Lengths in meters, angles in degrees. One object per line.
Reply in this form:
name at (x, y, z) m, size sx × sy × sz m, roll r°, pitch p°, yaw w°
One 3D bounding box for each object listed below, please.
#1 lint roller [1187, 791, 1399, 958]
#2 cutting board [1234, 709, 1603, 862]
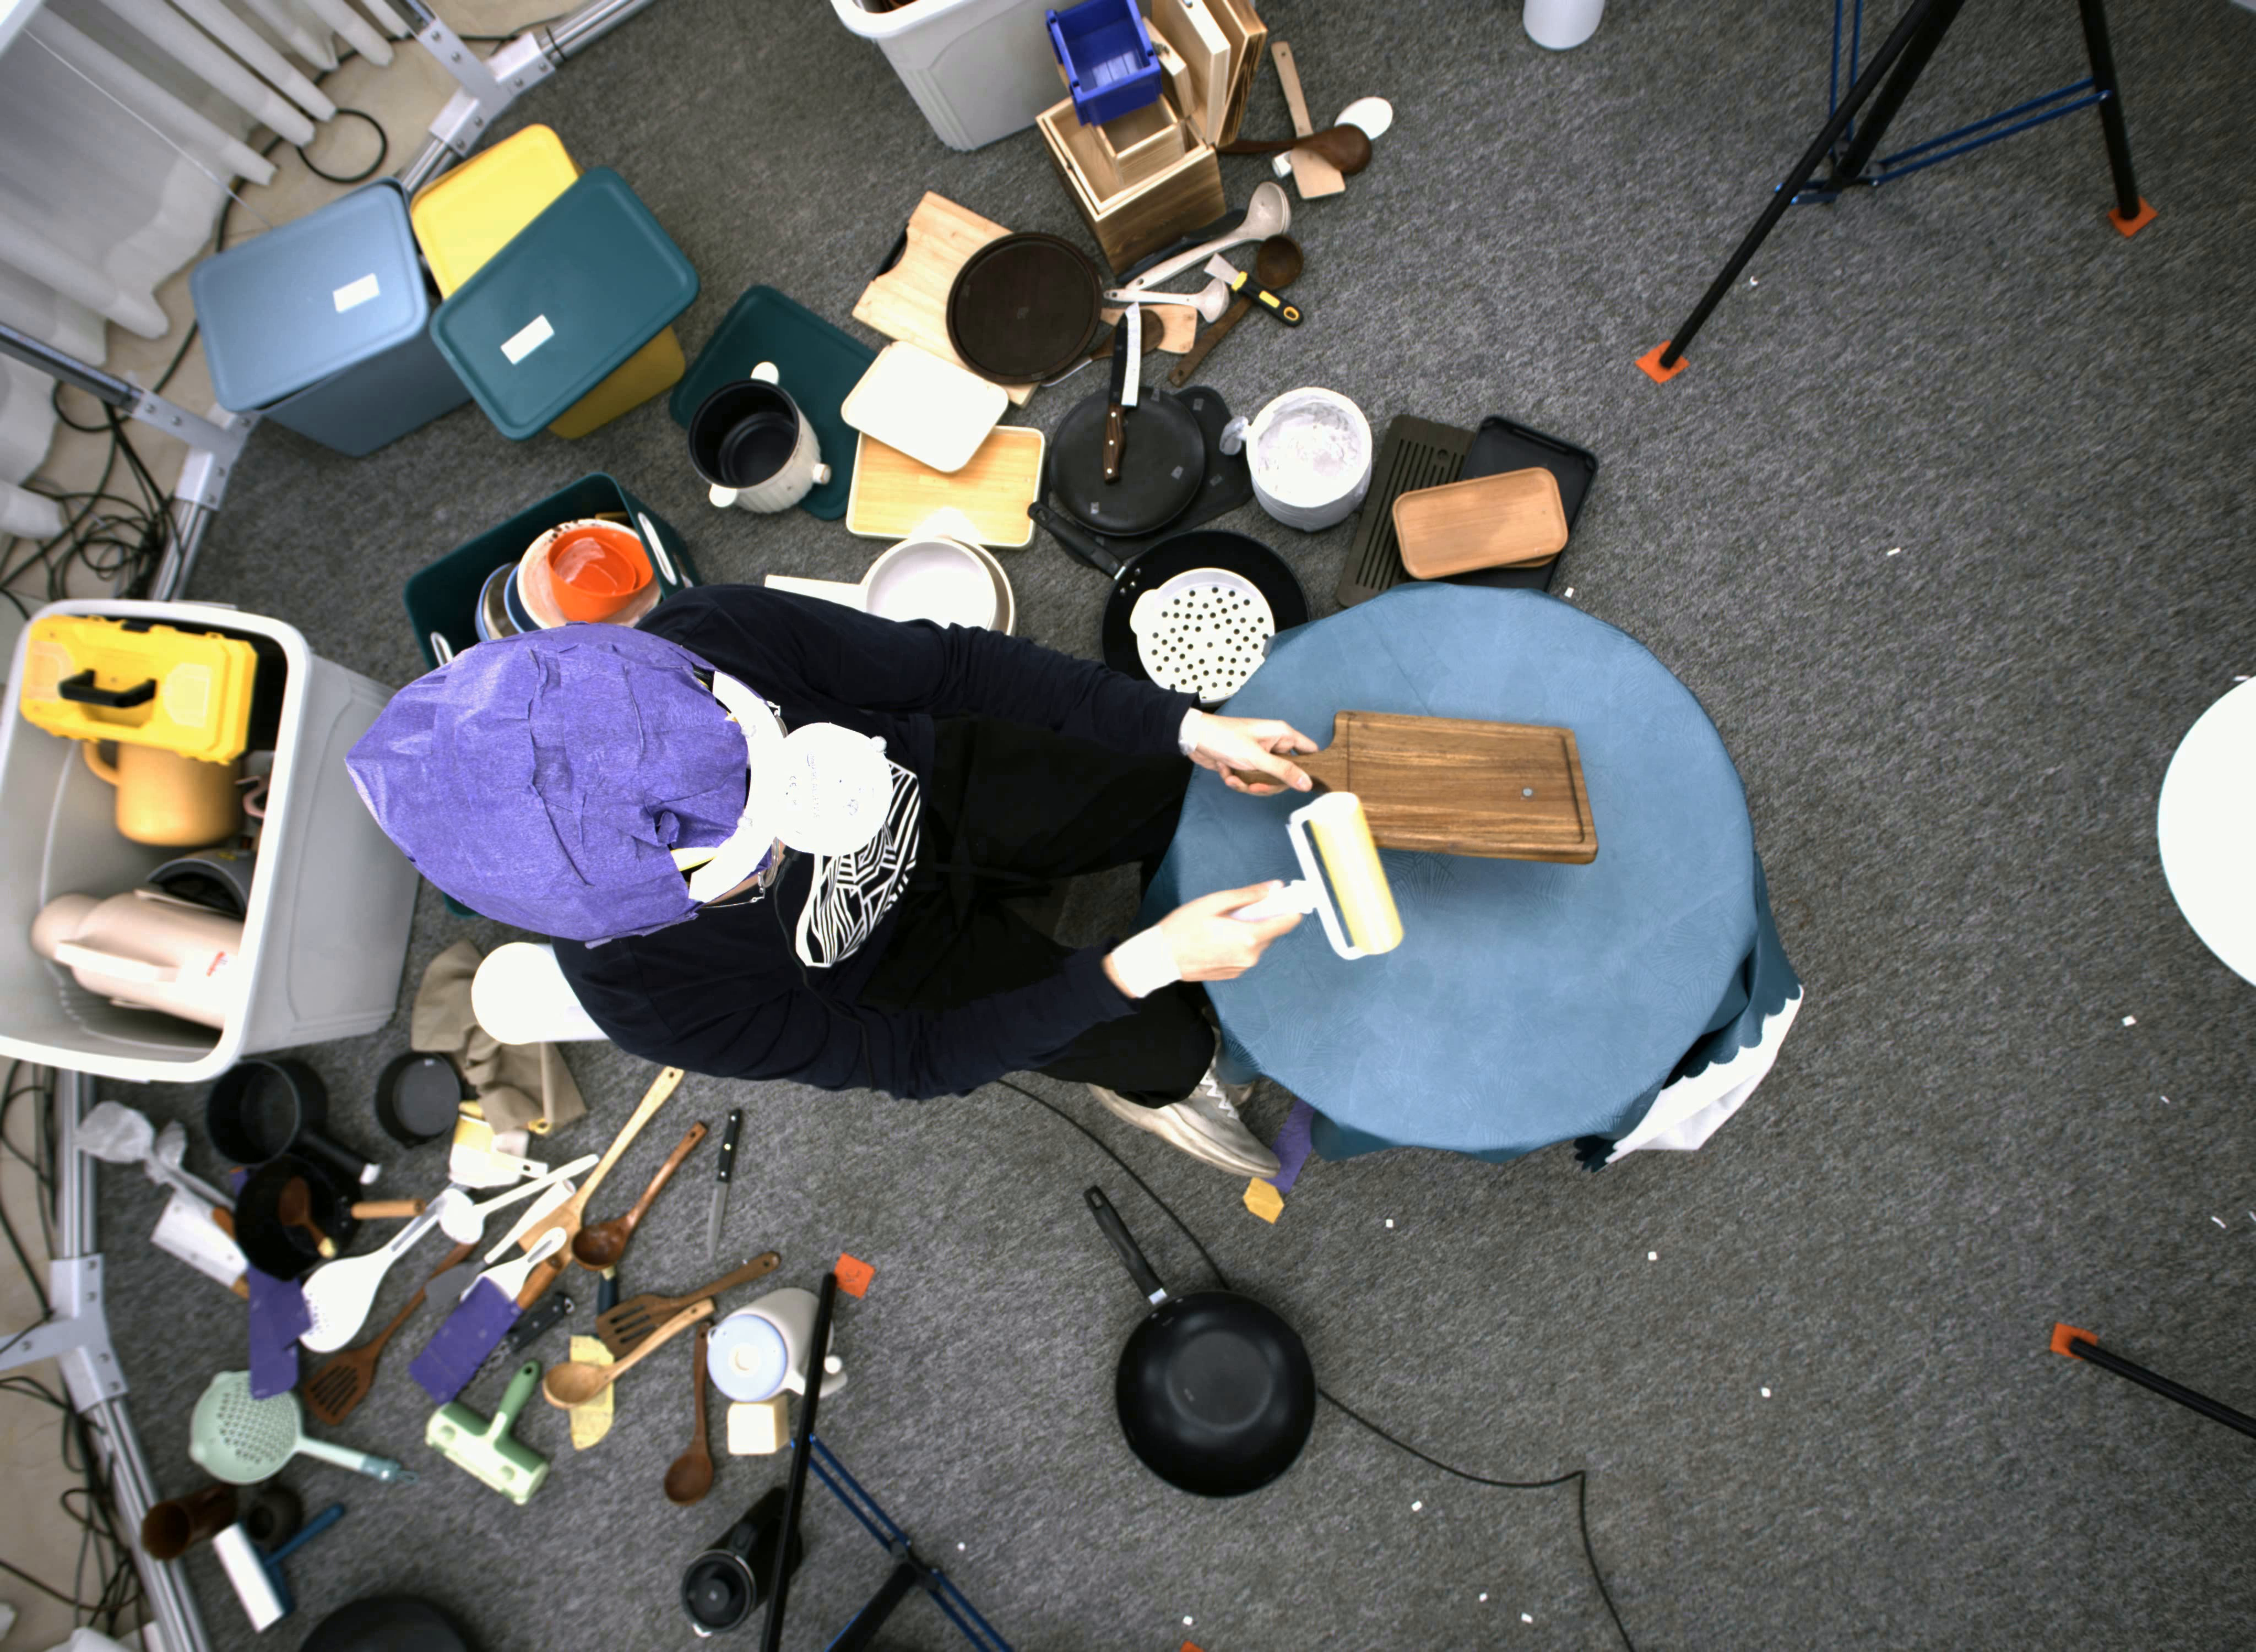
lint roller at (0.147, 0.078, 1.306) m, size 0.192 × 0.050 × 0.177 m, roll -29°, pitch 120°, yaw -3°
cutting board at (0.282, -0.050, 1.373) m, size 0.353 × 0.024 × 0.195 m, roll 4°, pitch 42°, yaw 5°
